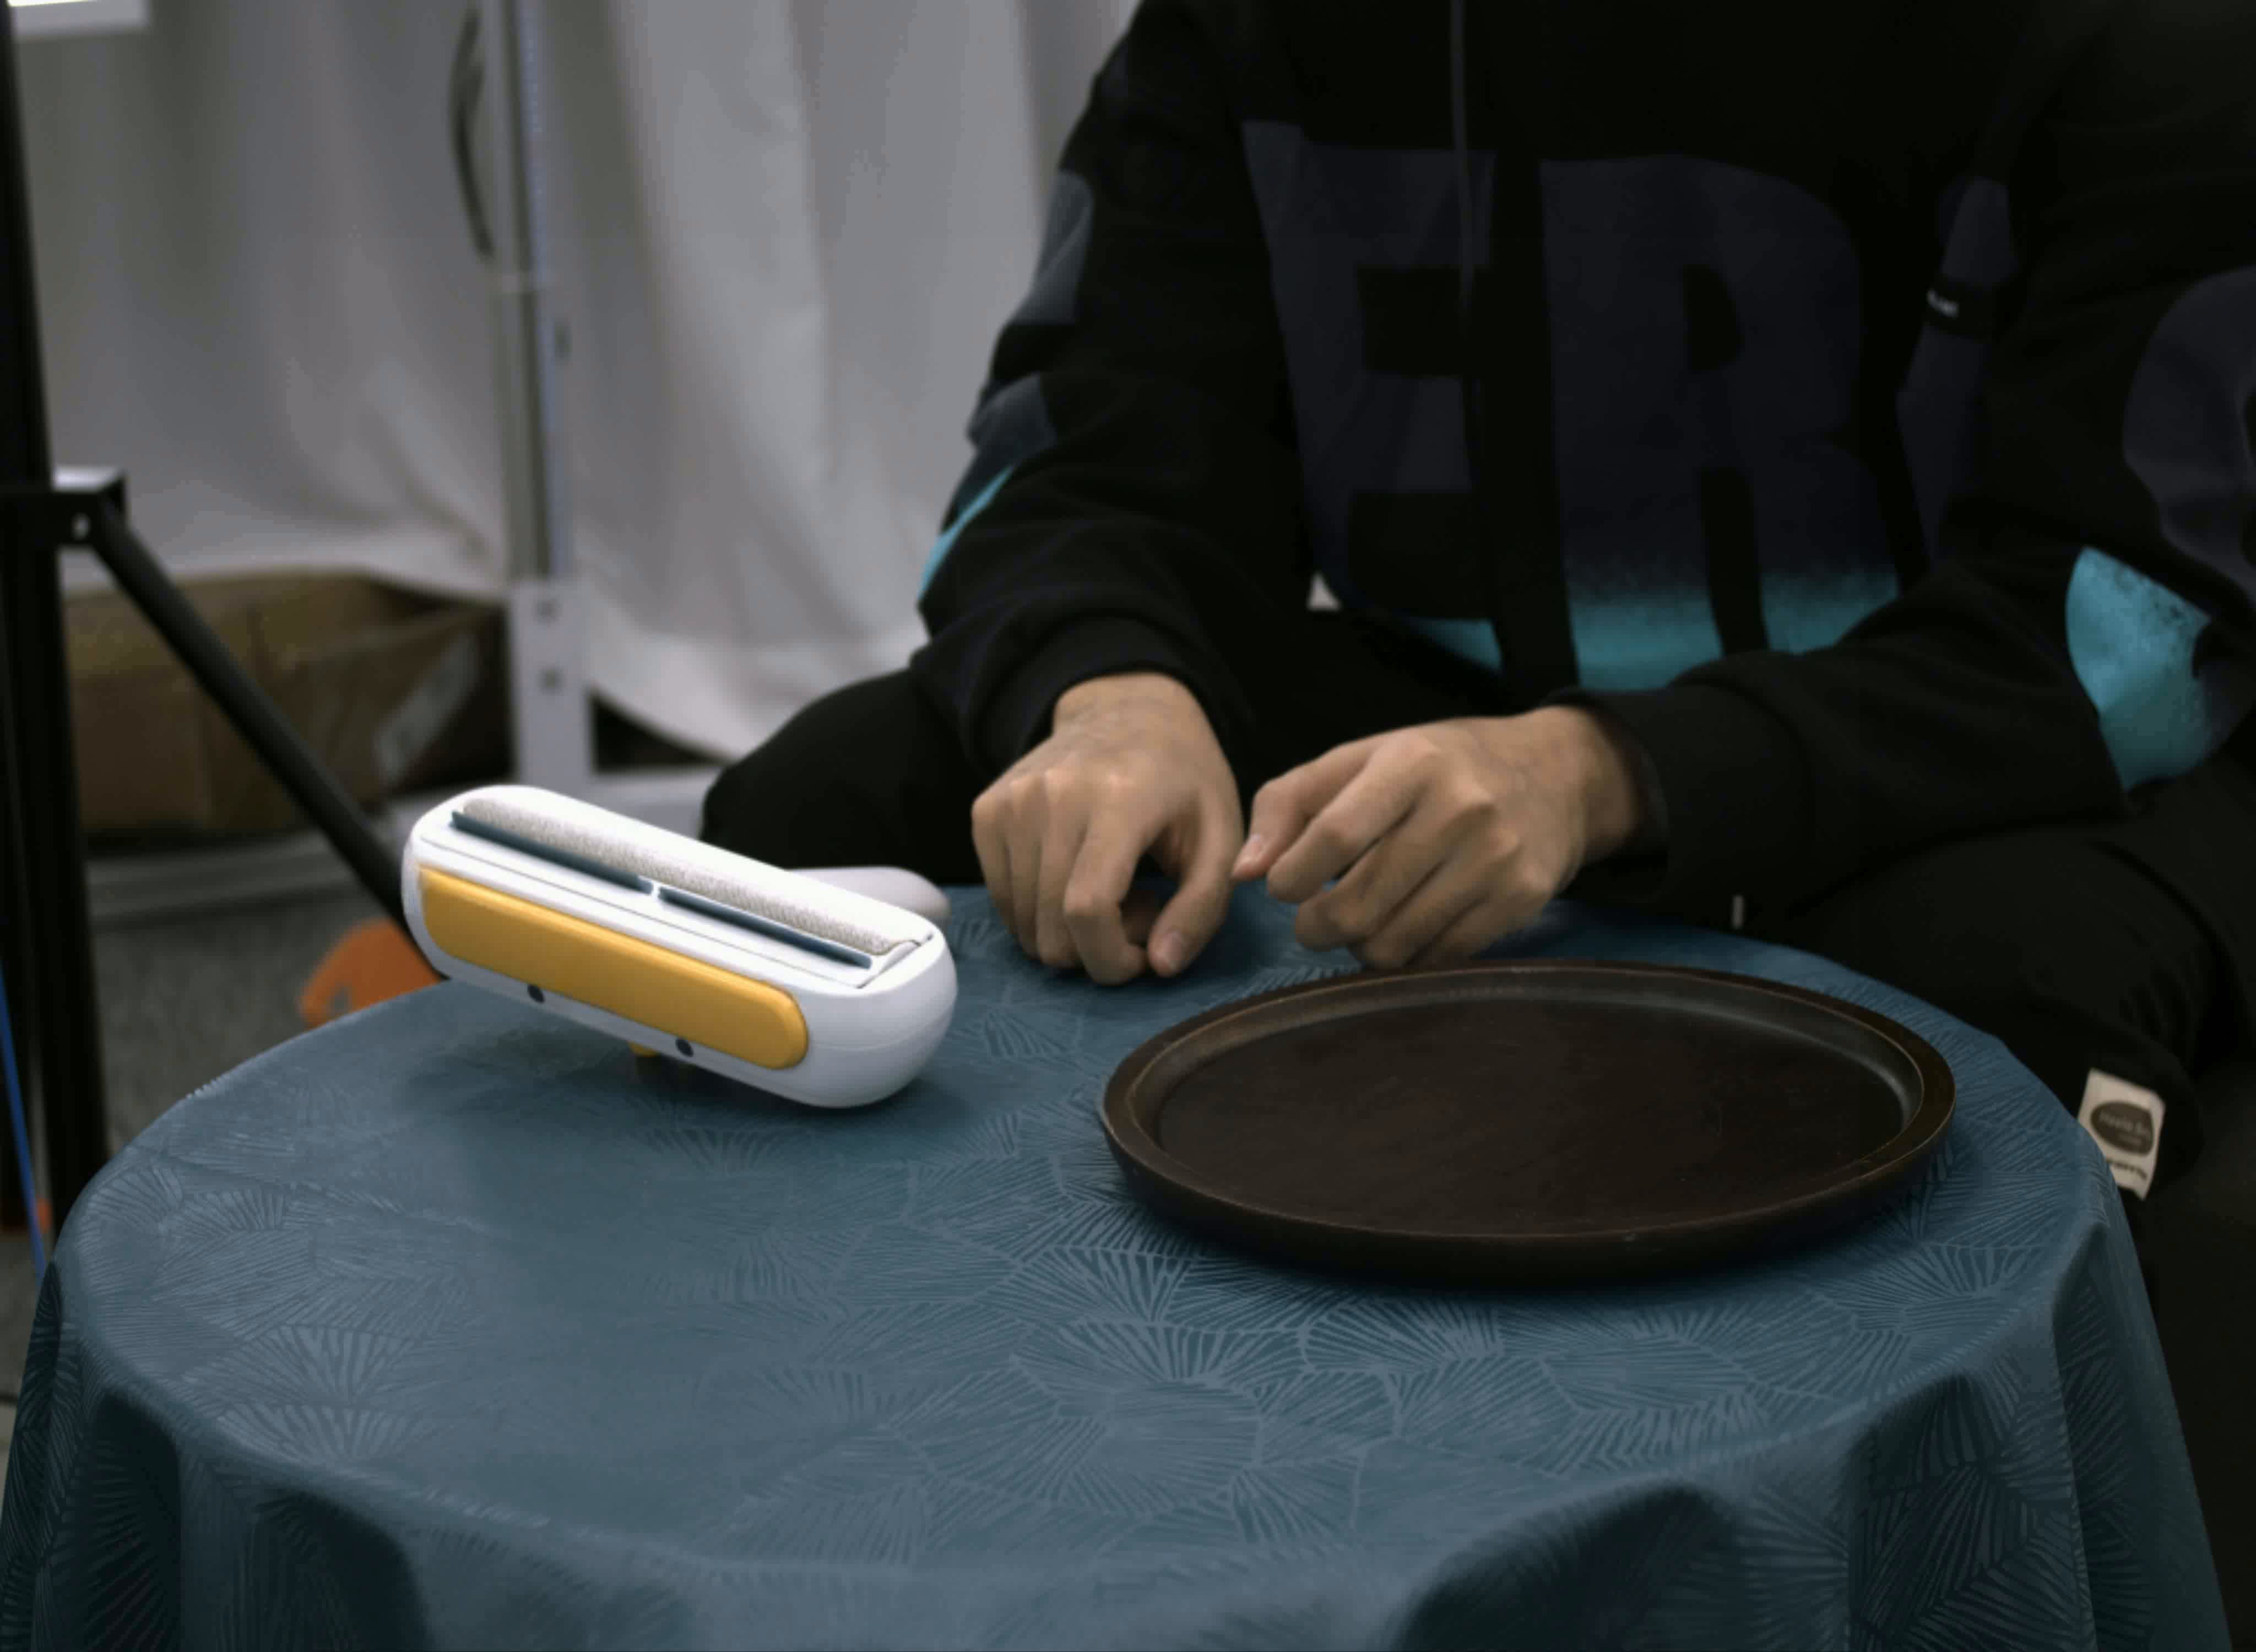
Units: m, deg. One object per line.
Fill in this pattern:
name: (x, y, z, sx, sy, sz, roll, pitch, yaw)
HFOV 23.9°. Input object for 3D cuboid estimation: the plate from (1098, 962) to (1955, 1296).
plate: (0.117, 0.088, 1.567, 0.253, 0.029, 0.256, -3, 15, -1)

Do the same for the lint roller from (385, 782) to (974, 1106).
lint roller: (-0.117, 0.030, 1.732, 0.197, 0.074, 0.188, 14, 21, 33)
